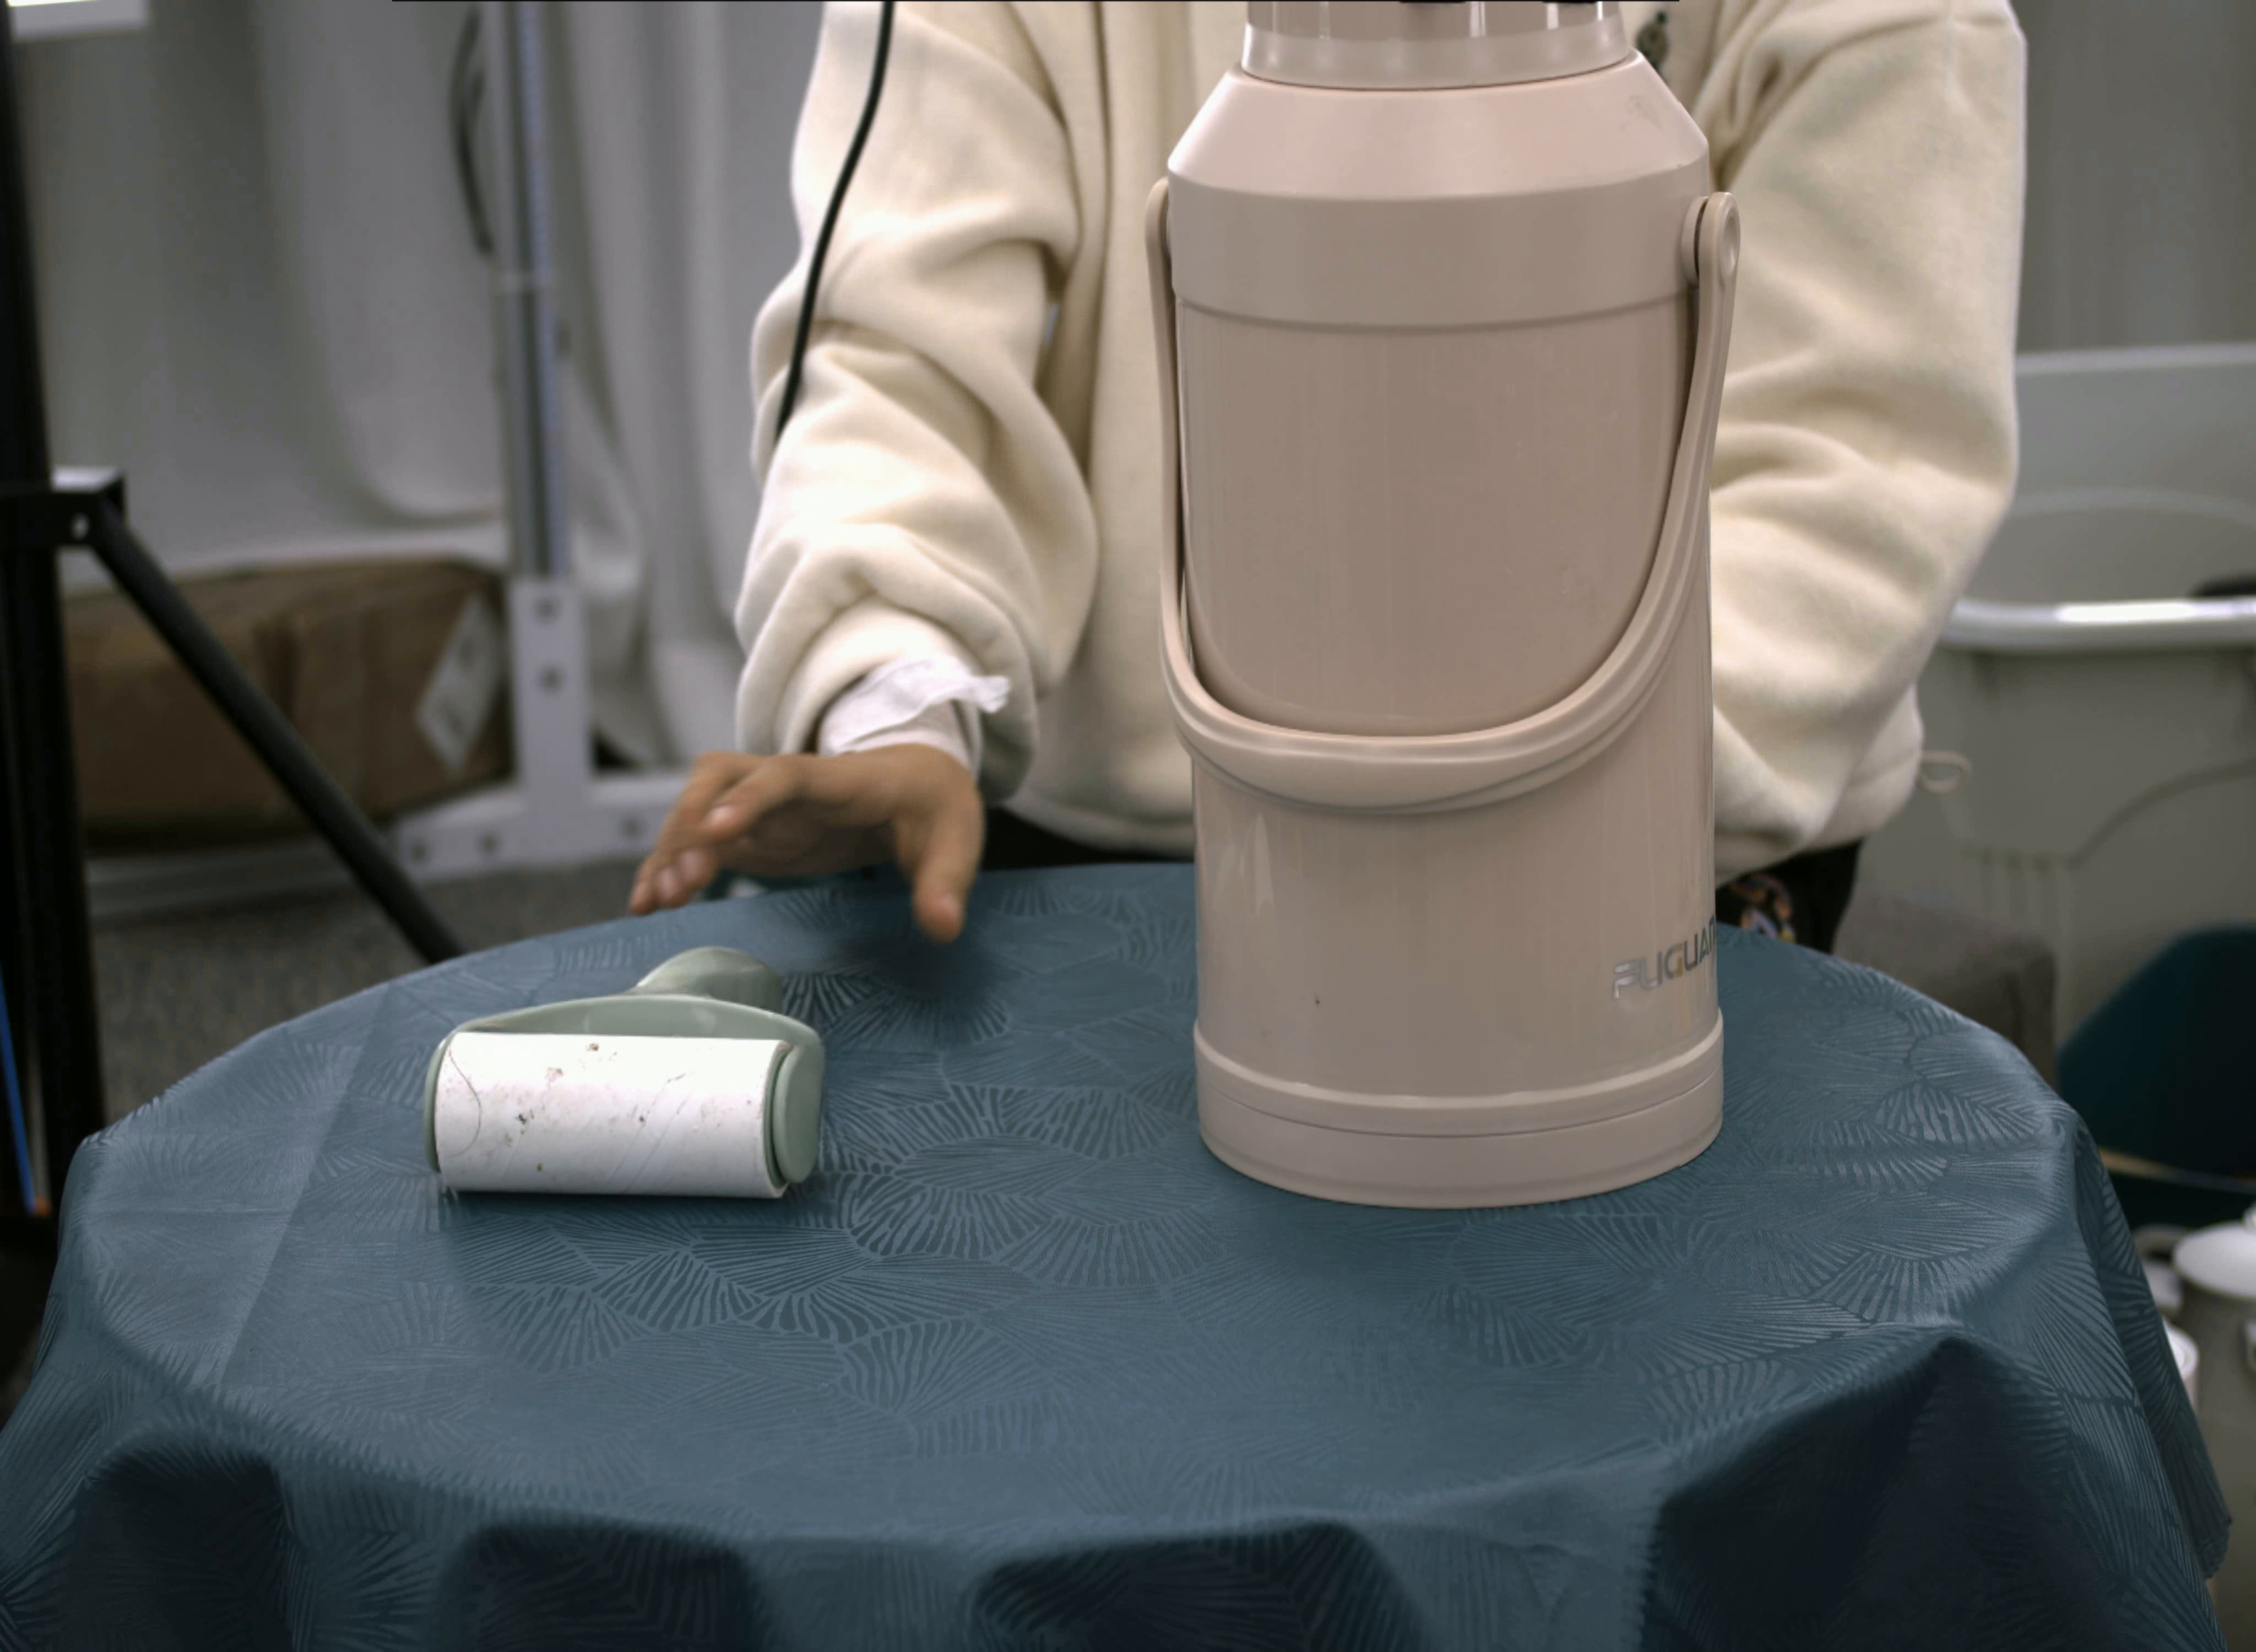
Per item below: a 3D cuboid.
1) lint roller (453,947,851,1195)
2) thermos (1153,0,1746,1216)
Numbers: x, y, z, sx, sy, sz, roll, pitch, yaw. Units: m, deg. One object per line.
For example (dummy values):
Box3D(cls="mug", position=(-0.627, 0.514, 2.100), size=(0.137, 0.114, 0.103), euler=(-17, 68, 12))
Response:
Box3D(cls="lint roller", position=(-0.129, 0.065, 1.643), size=(0.117, 0.048, 0.196), euler=(-2, 16, 12))
Box3D(cls="thermos", position=(0.100, -0.103, 1.564), size=(0.178, 0.406, 0.204), euler=(4, 16, 23))
